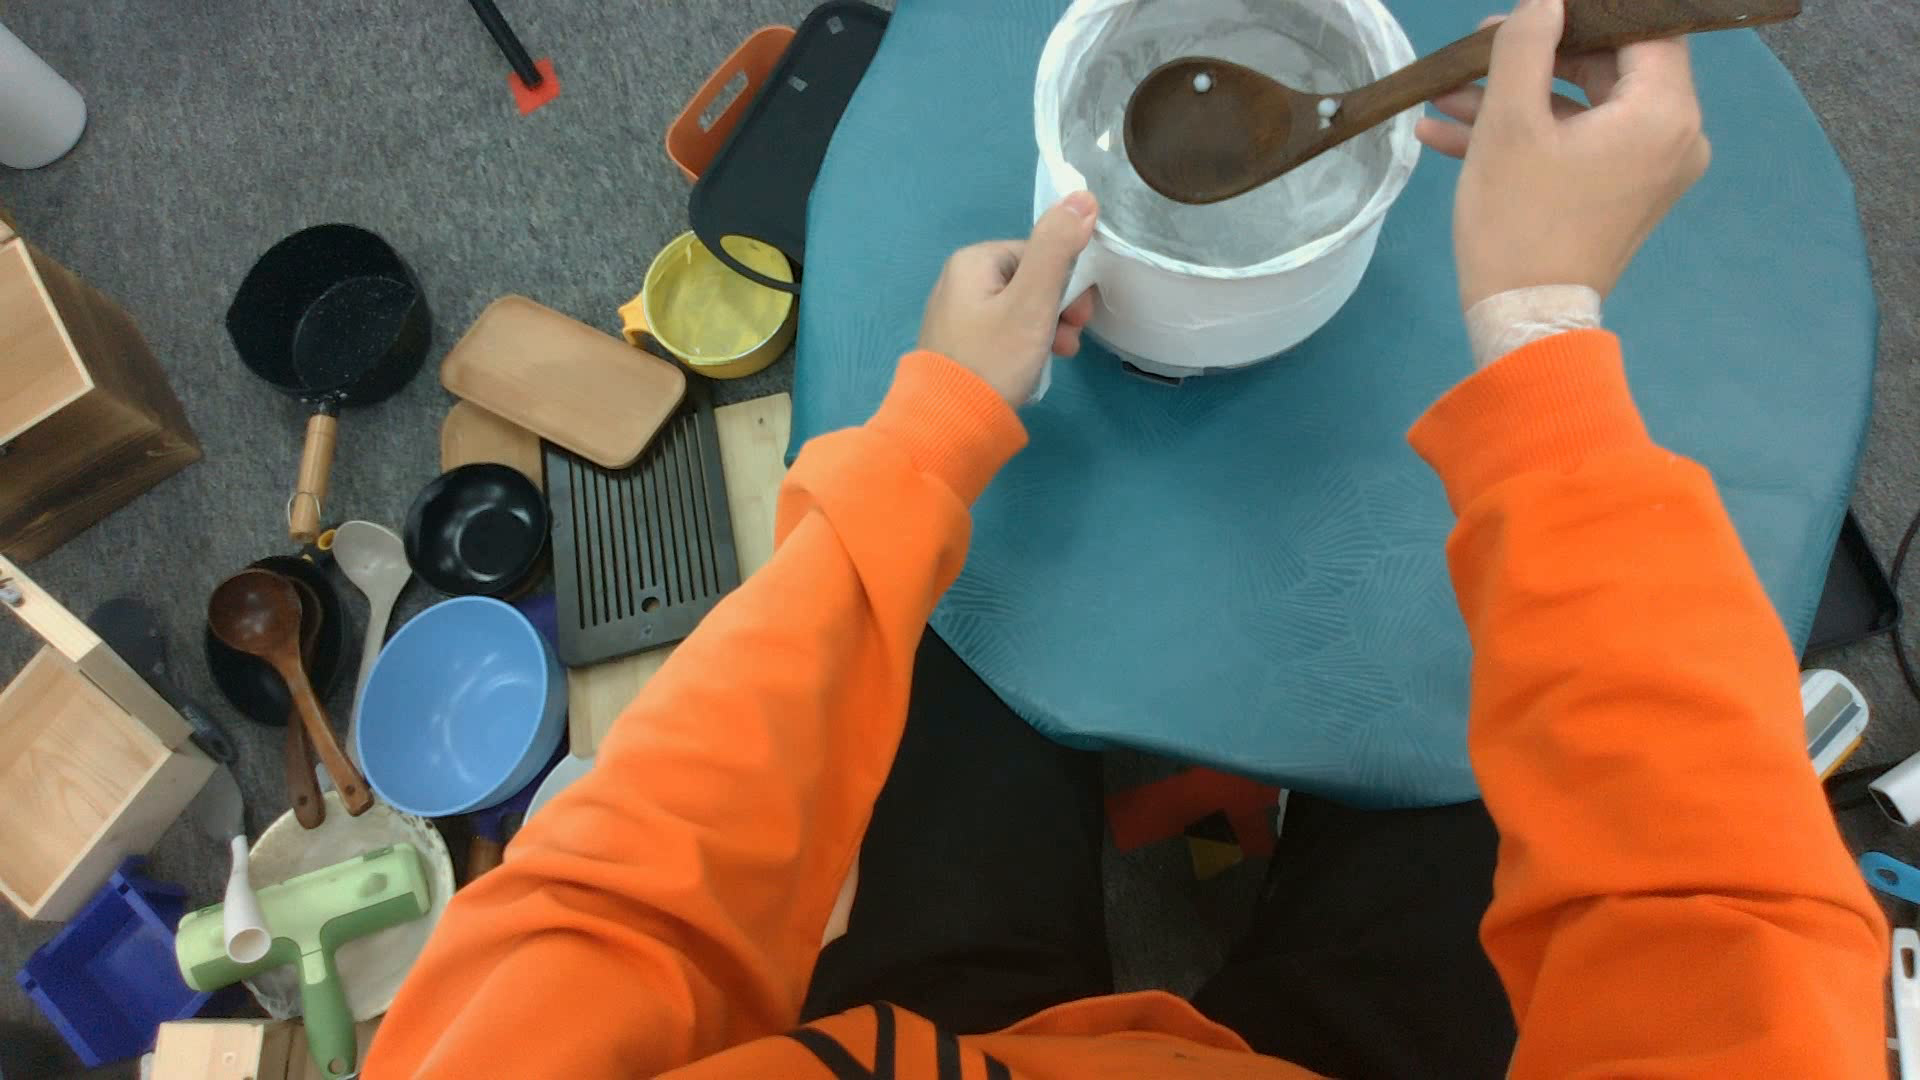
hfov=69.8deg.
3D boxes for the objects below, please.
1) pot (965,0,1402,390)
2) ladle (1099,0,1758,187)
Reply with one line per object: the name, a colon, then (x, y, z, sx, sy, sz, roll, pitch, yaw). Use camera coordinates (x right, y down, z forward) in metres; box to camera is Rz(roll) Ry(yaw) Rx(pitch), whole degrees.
pot: (0.096, -0.172, 0.690, 0.234, 0.136, 0.179, -43, 76, -10)
ladle: (0.175, -0.206, 0.566, 0.273, 0.071, 0.076, -3, 72, 49)
